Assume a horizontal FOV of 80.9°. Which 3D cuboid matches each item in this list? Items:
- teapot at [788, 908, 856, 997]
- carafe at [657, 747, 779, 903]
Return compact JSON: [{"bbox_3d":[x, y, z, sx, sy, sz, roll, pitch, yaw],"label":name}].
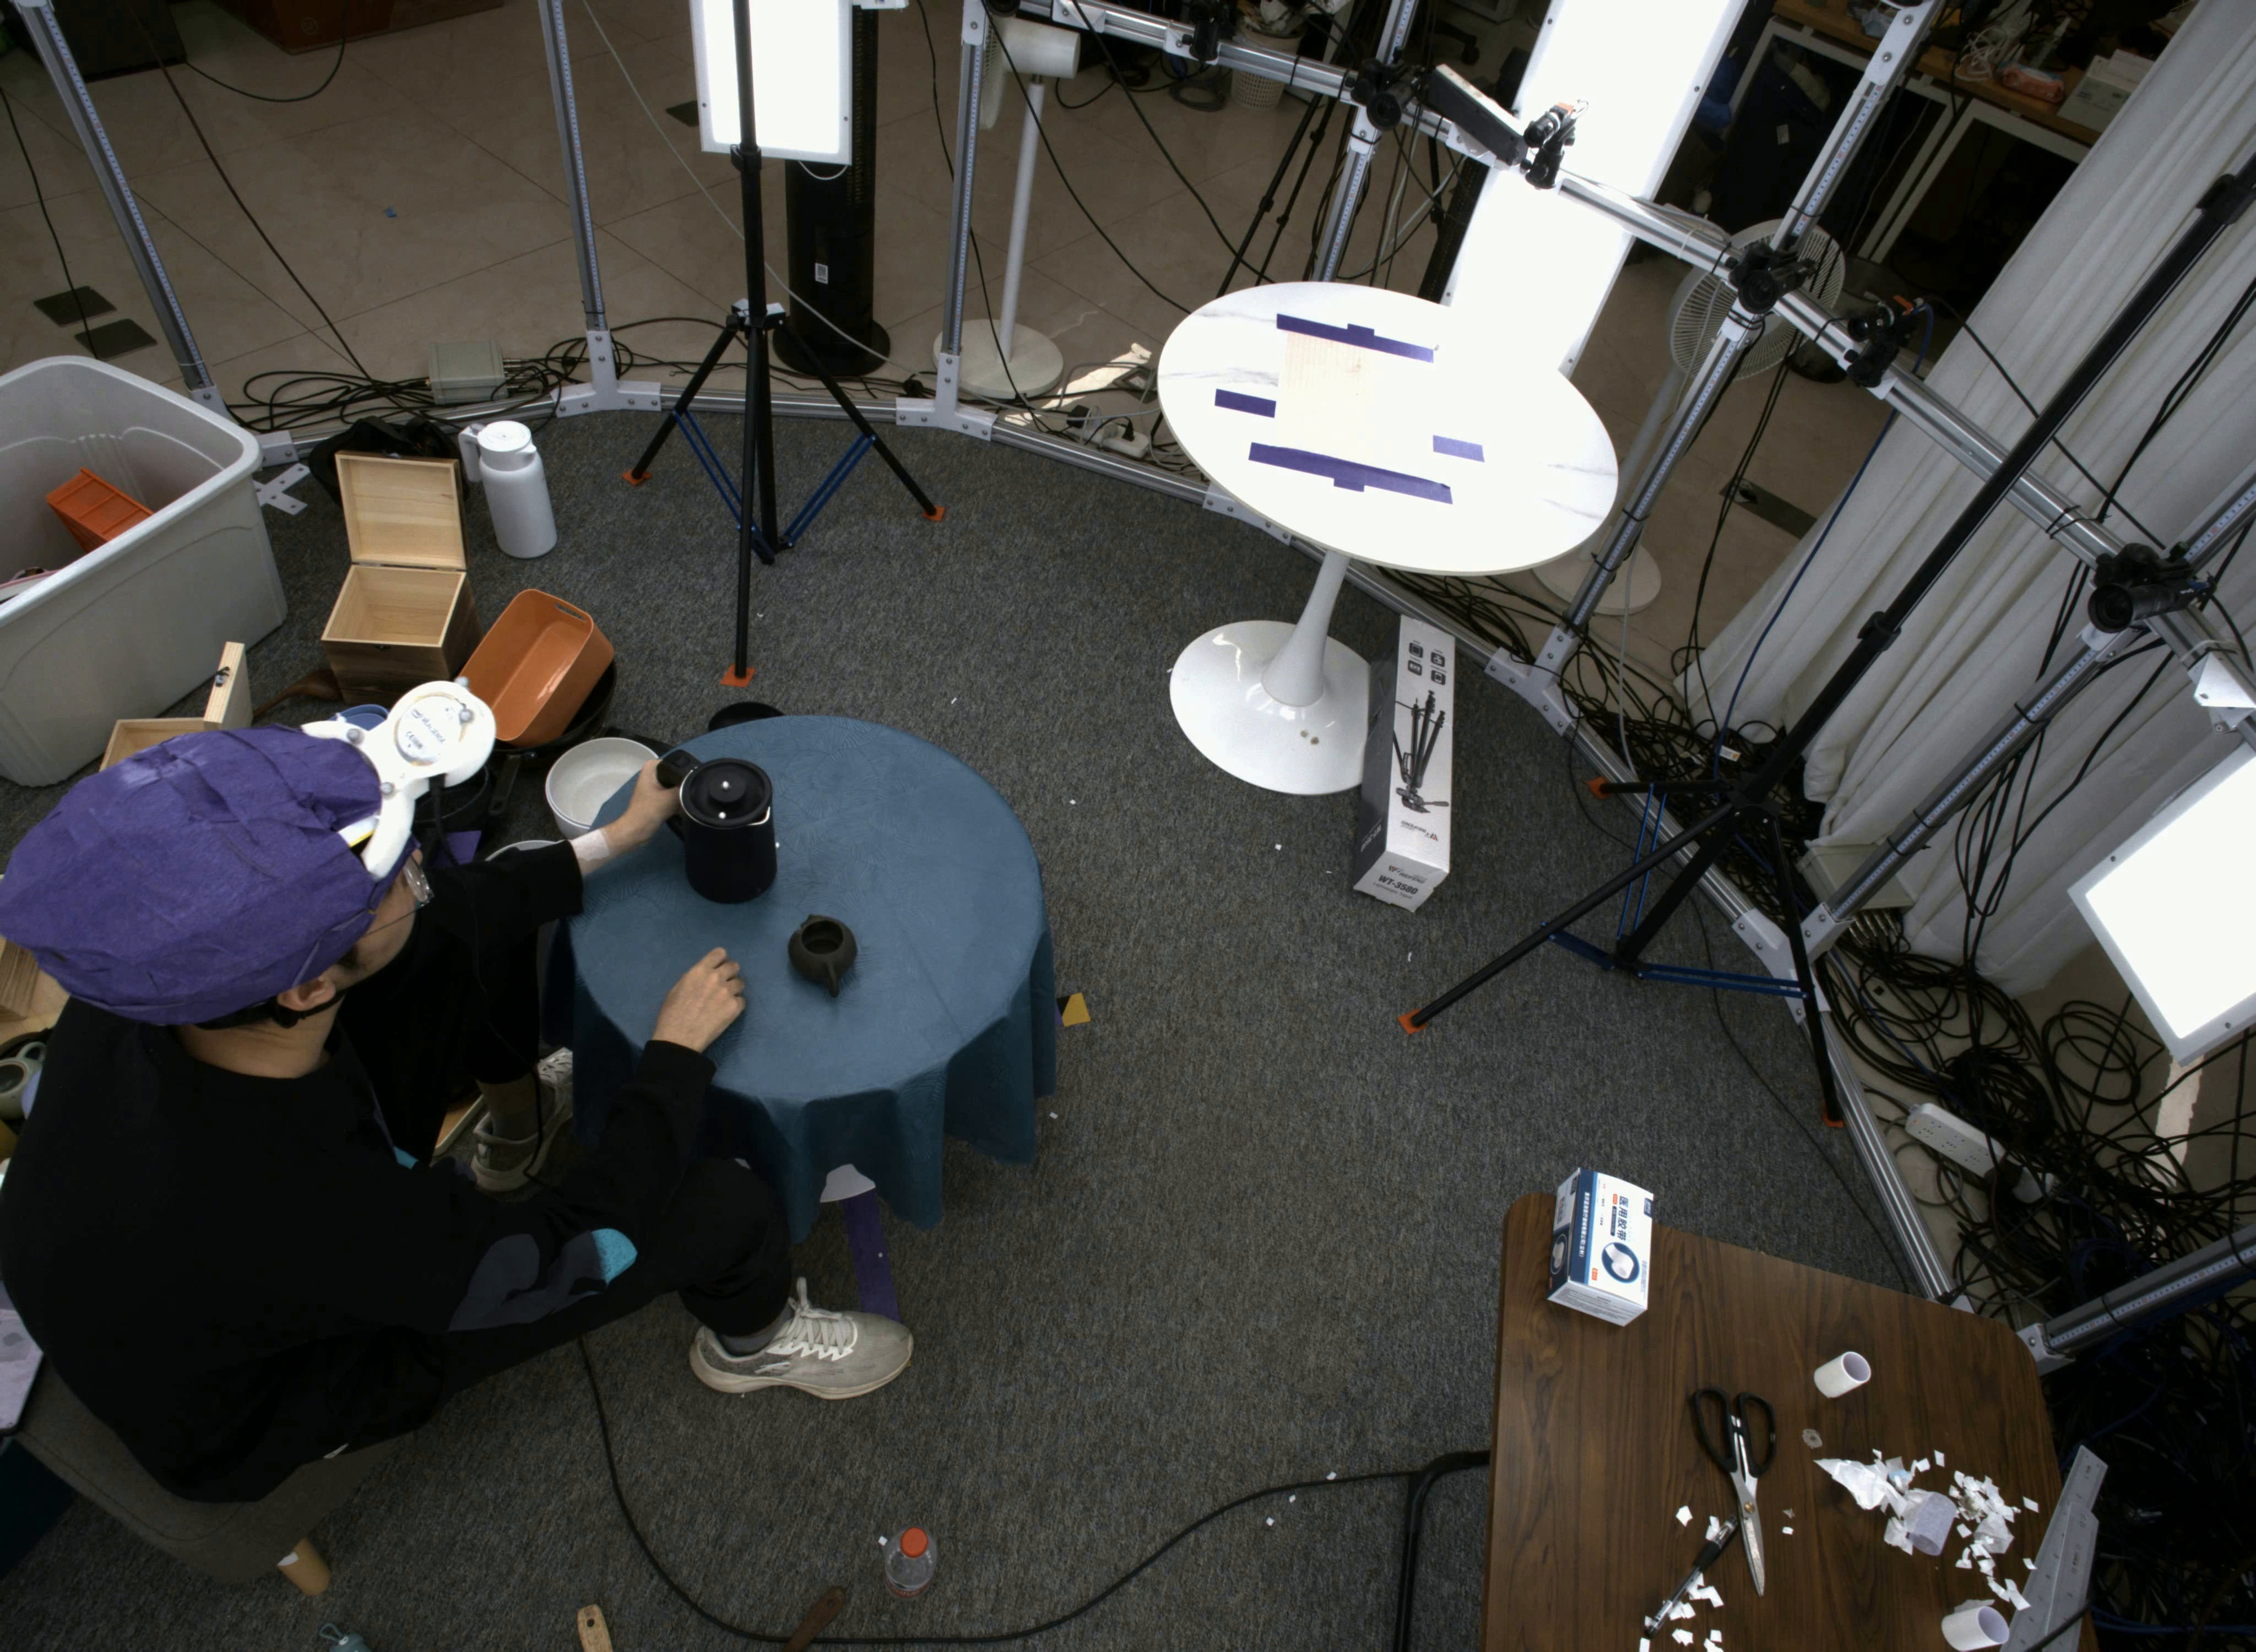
[{"bbox_3d":[-0.374,0.156,1.595,0.083,0.054,0.111,-8,53,-18],"label":"teapot"},{"bbox_3d":[-0.513,-0.011,1.604,0.169,0.176,0.114,33,55,9],"label":"carafe"}]
